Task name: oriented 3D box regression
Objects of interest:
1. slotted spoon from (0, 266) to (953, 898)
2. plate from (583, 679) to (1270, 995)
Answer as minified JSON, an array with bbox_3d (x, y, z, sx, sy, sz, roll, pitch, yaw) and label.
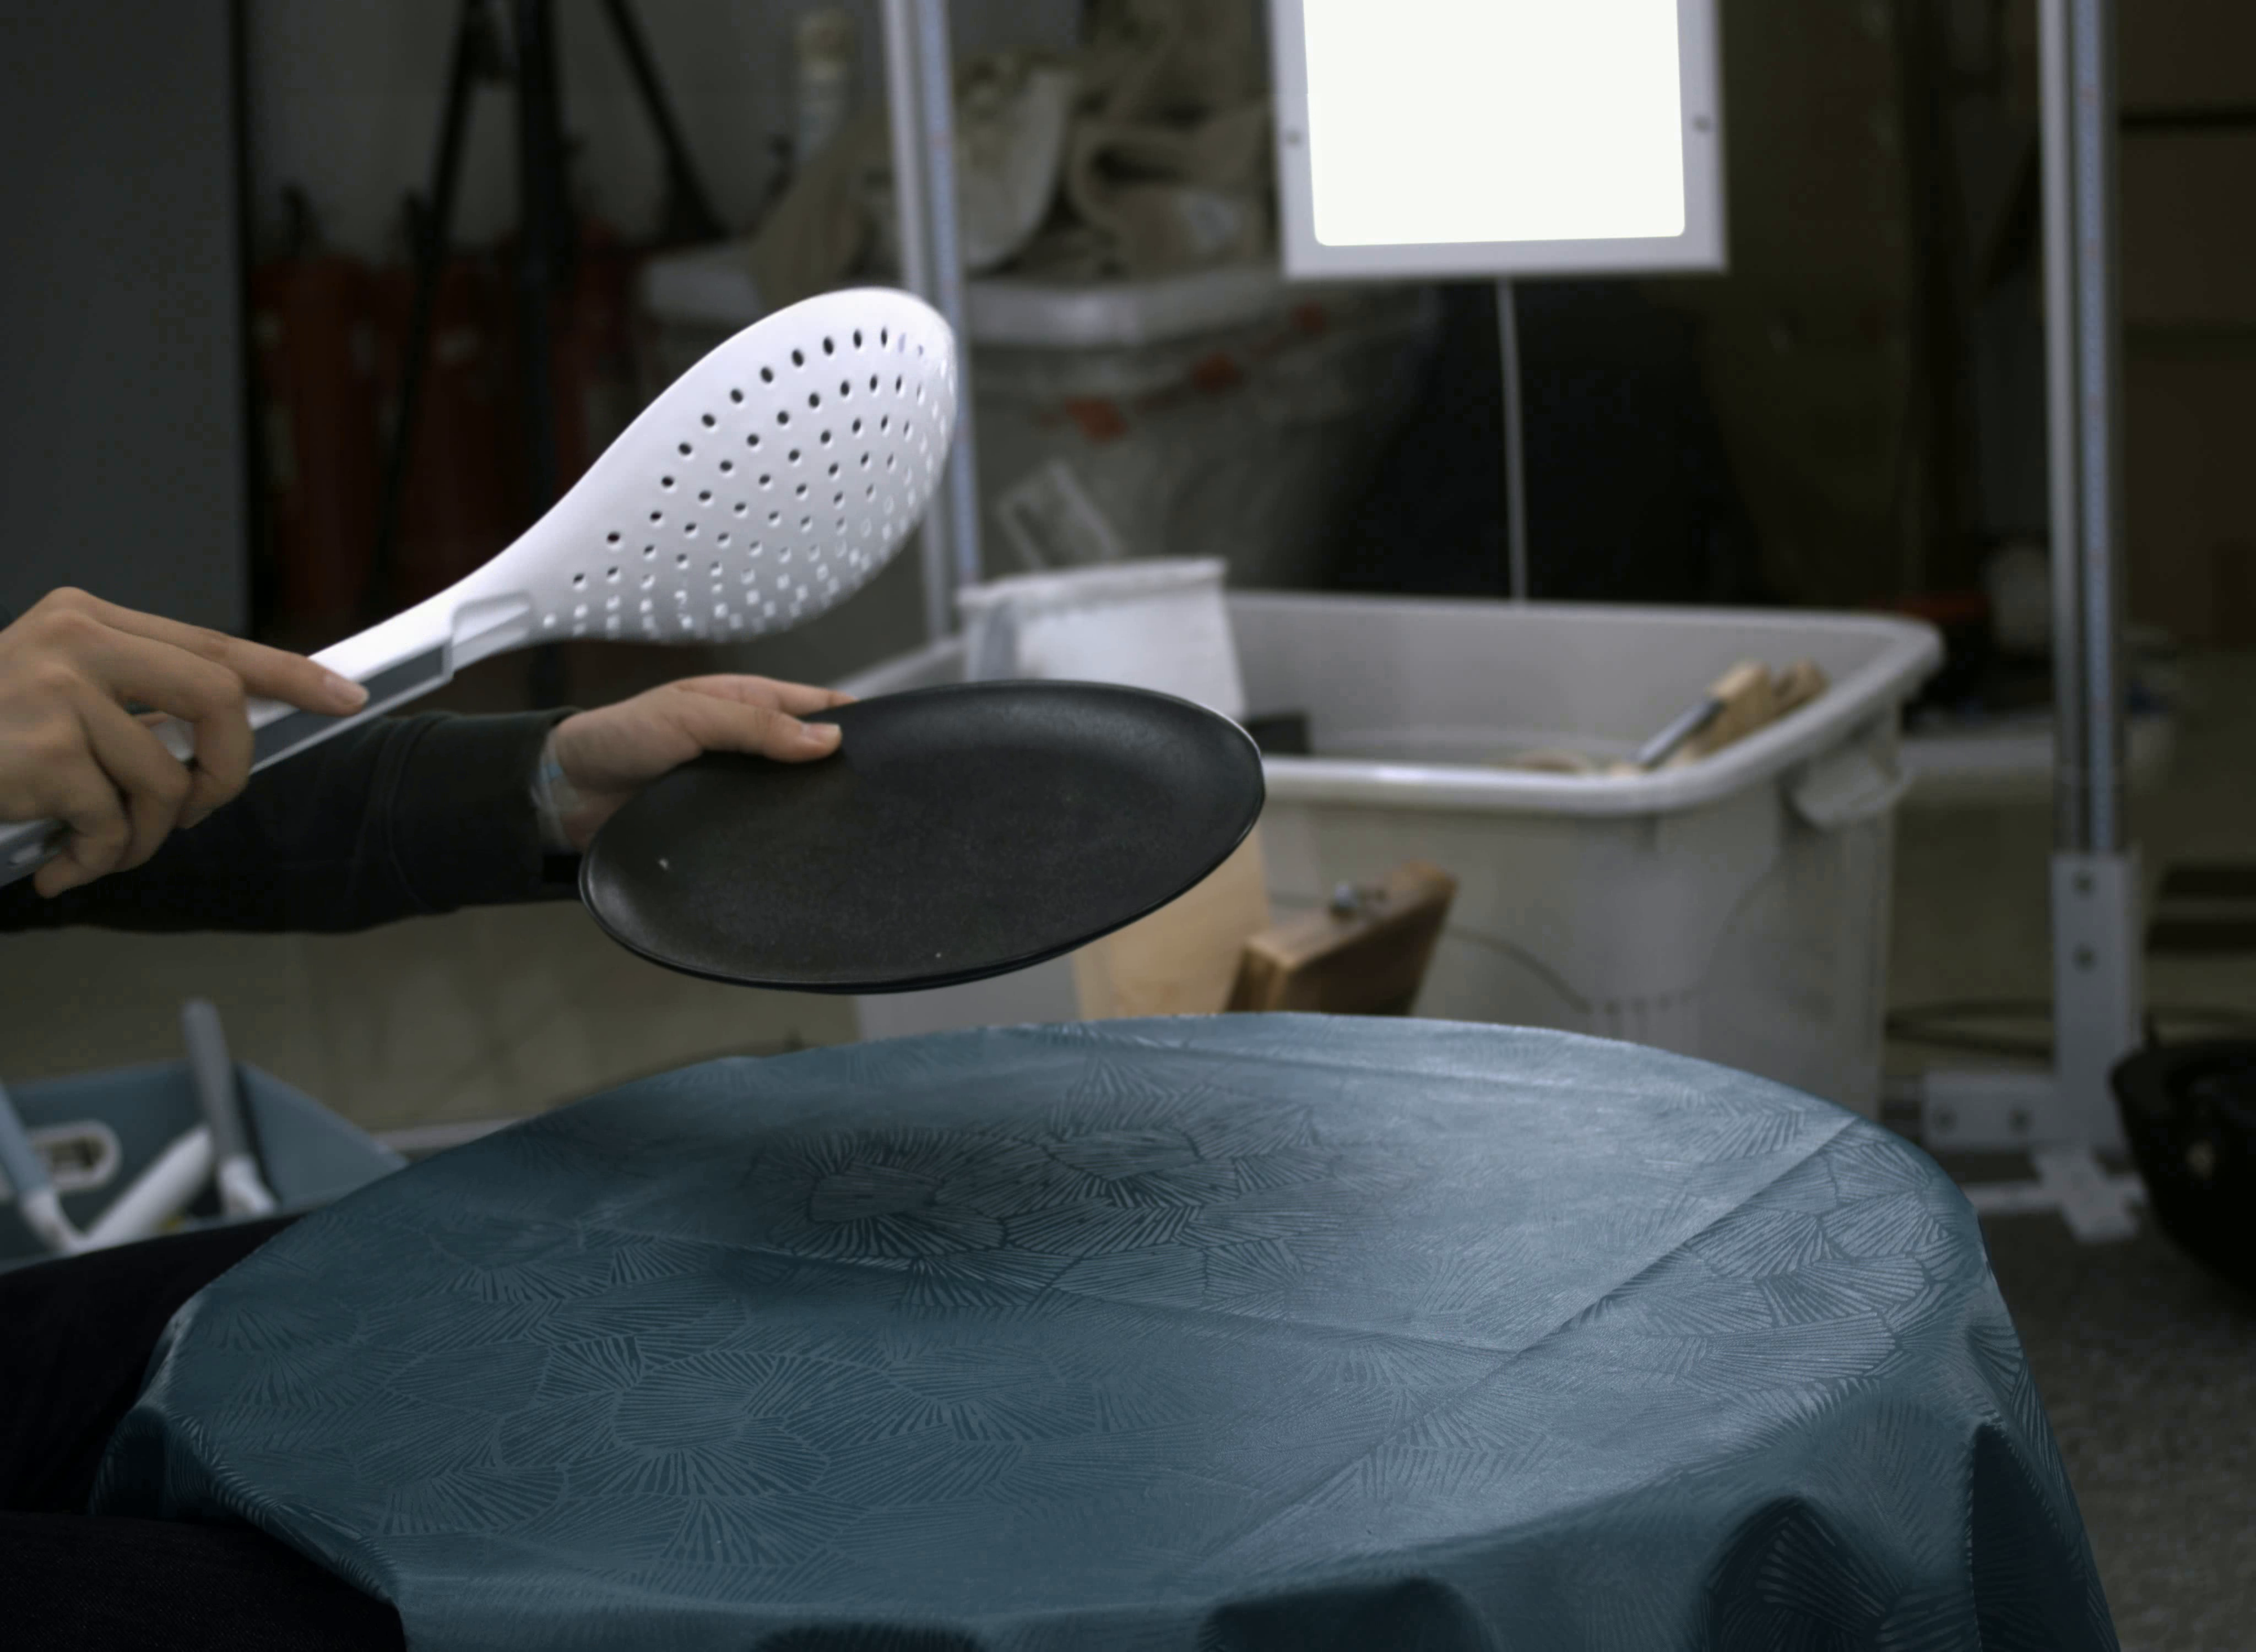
[{"bbox_3d":[-0.192,-0.065,1.637,0.344,0.137,0.046,-24,62,-19],"label":"slotted spoon"},{"bbox_3d":[-0.069,0.008,1.919,0.244,0.023,0.244,-9,24,3],"label":"plate"}]
